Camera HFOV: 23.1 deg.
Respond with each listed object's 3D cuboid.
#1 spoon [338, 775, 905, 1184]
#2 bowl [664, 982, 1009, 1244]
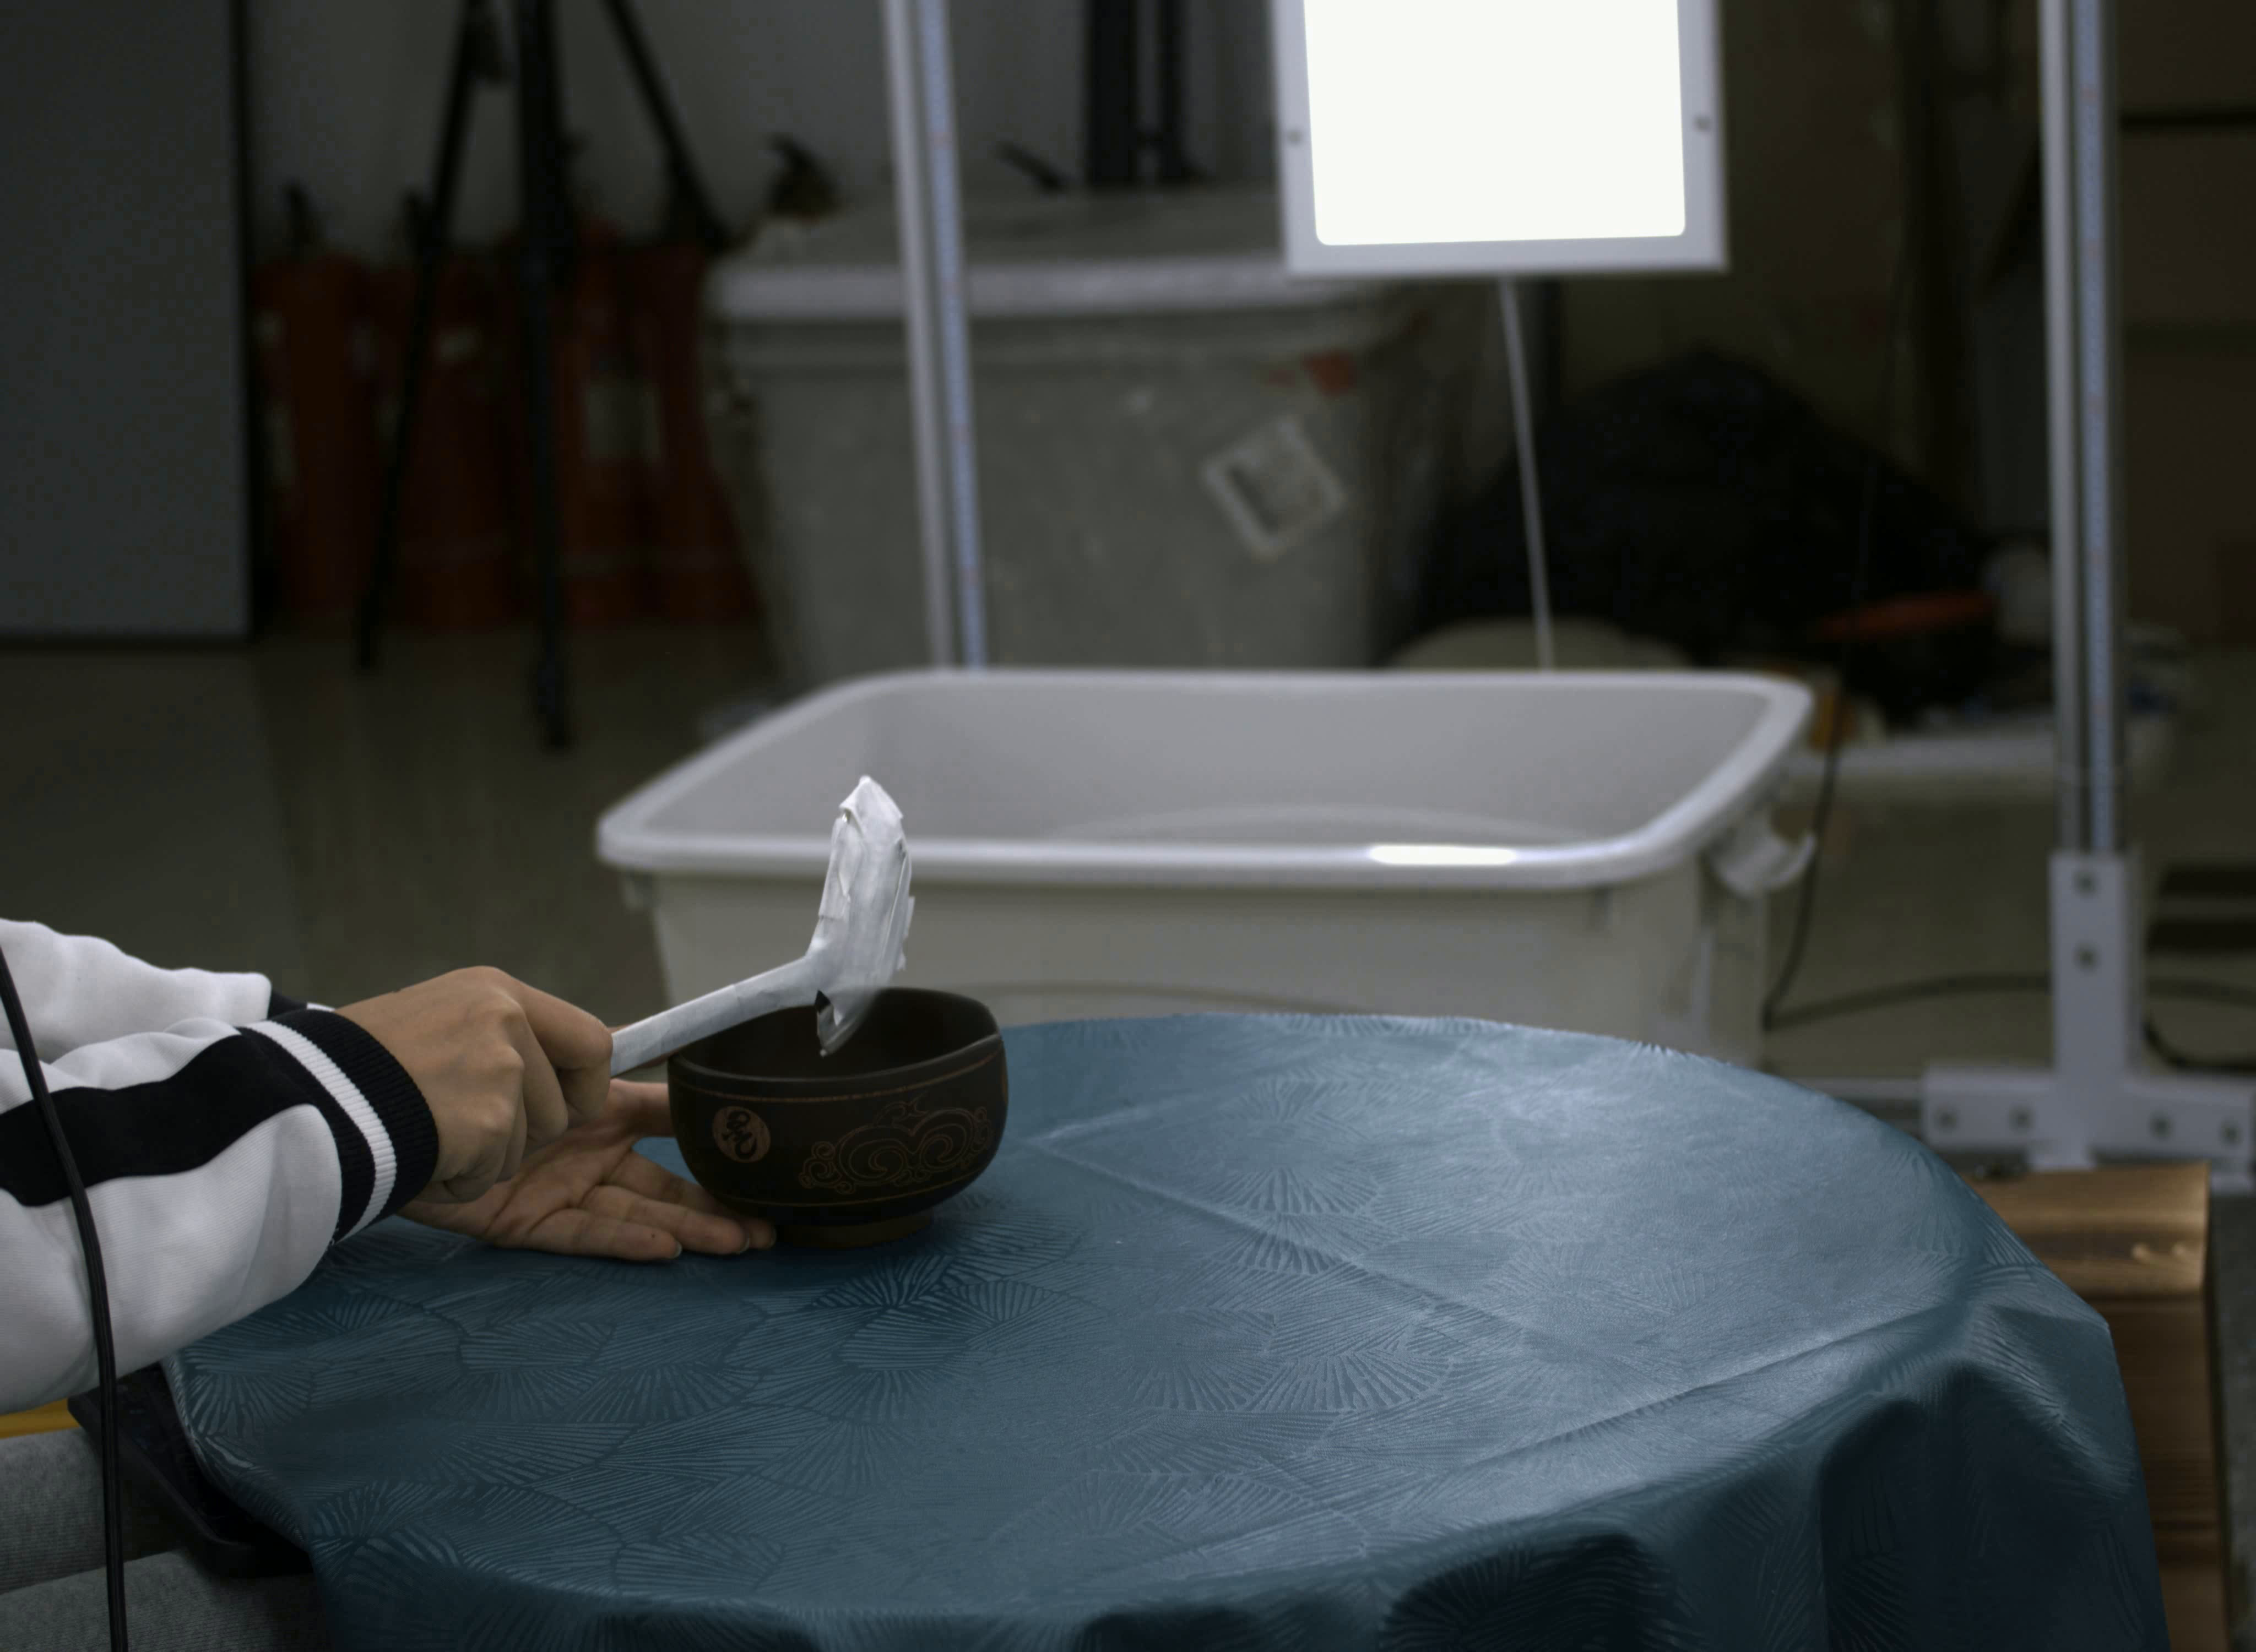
[{"bbox_3d":[-0.164,0.061,1.804,0.270,0.101,0.060,-23,34,-39],"label":"spoon"},{"bbox_3d":[-0.098,0.101,1.882,0.118,0.070,0.118,-5,14,0],"label":"bowl"}]
